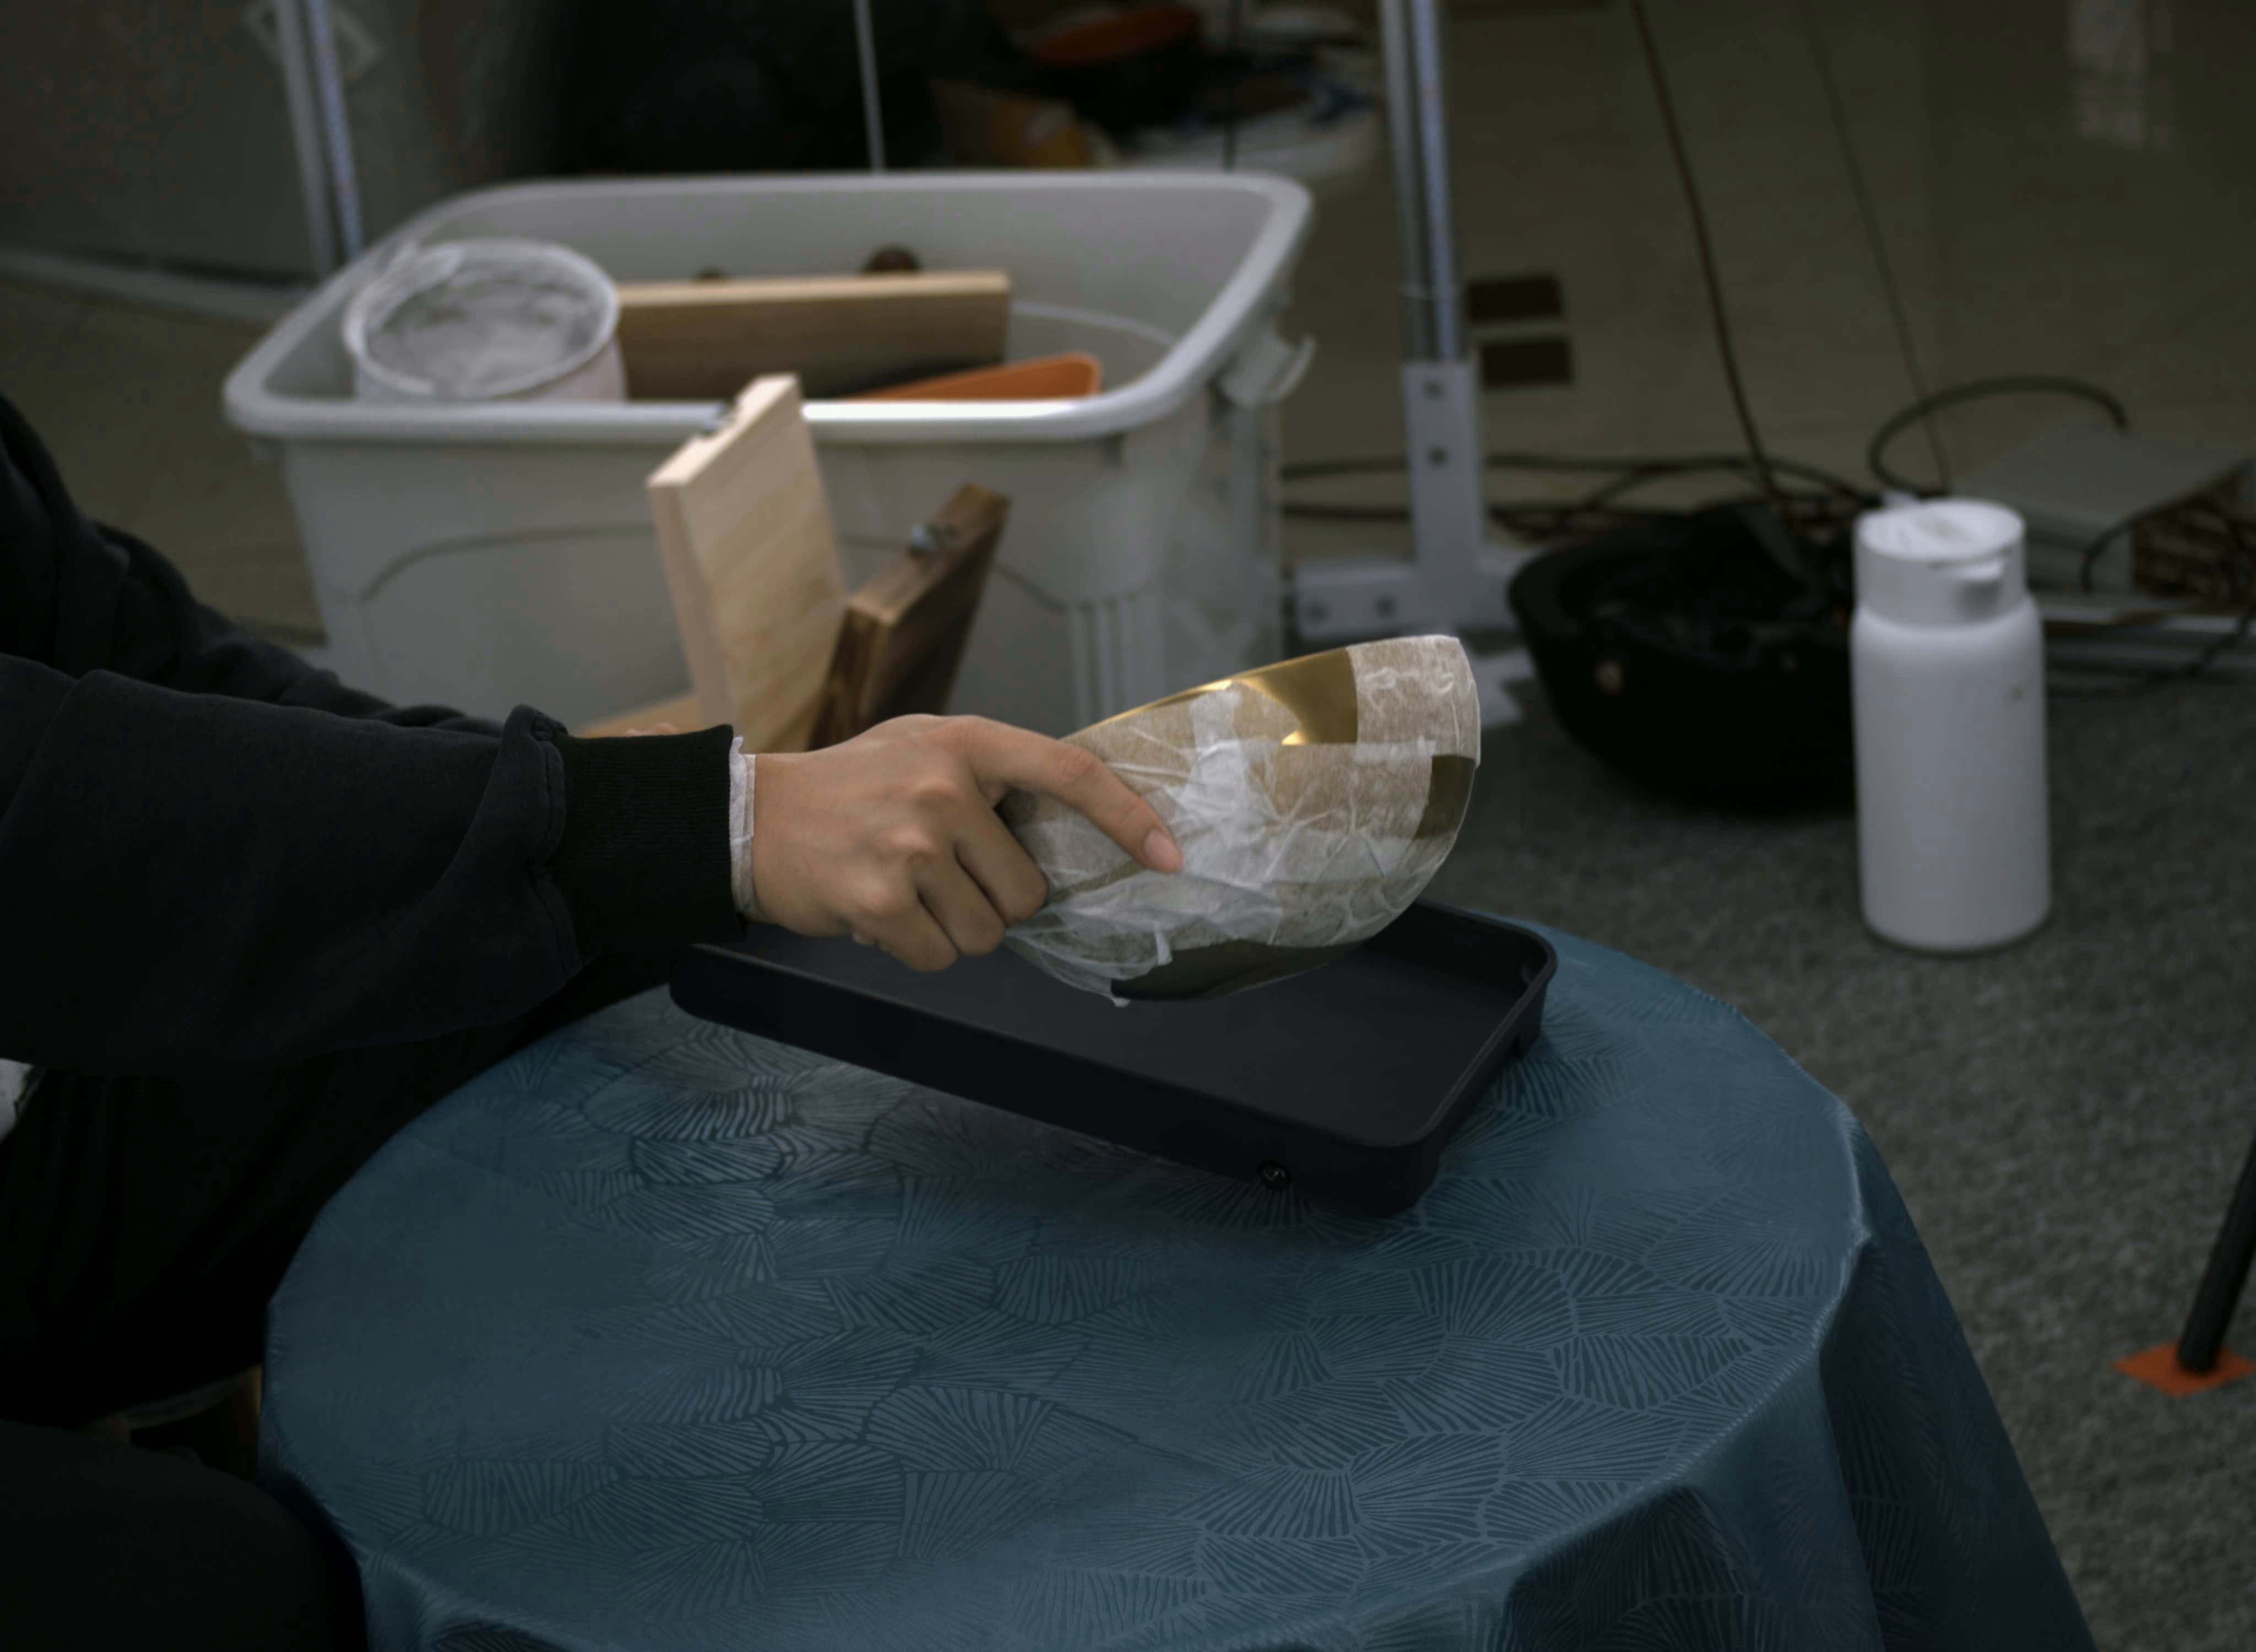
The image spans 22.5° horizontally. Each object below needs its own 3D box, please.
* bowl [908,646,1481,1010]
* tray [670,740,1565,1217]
[{"bbox_3d":[0.034,0.012,2.017,0.214,0.094,0.215,-18,-6,-2],"label":"bowl"},{"bbox_3d":[-0.004,0.056,2.211,0.316,0.038,0.182,16,33,18],"label":"tray"}]
